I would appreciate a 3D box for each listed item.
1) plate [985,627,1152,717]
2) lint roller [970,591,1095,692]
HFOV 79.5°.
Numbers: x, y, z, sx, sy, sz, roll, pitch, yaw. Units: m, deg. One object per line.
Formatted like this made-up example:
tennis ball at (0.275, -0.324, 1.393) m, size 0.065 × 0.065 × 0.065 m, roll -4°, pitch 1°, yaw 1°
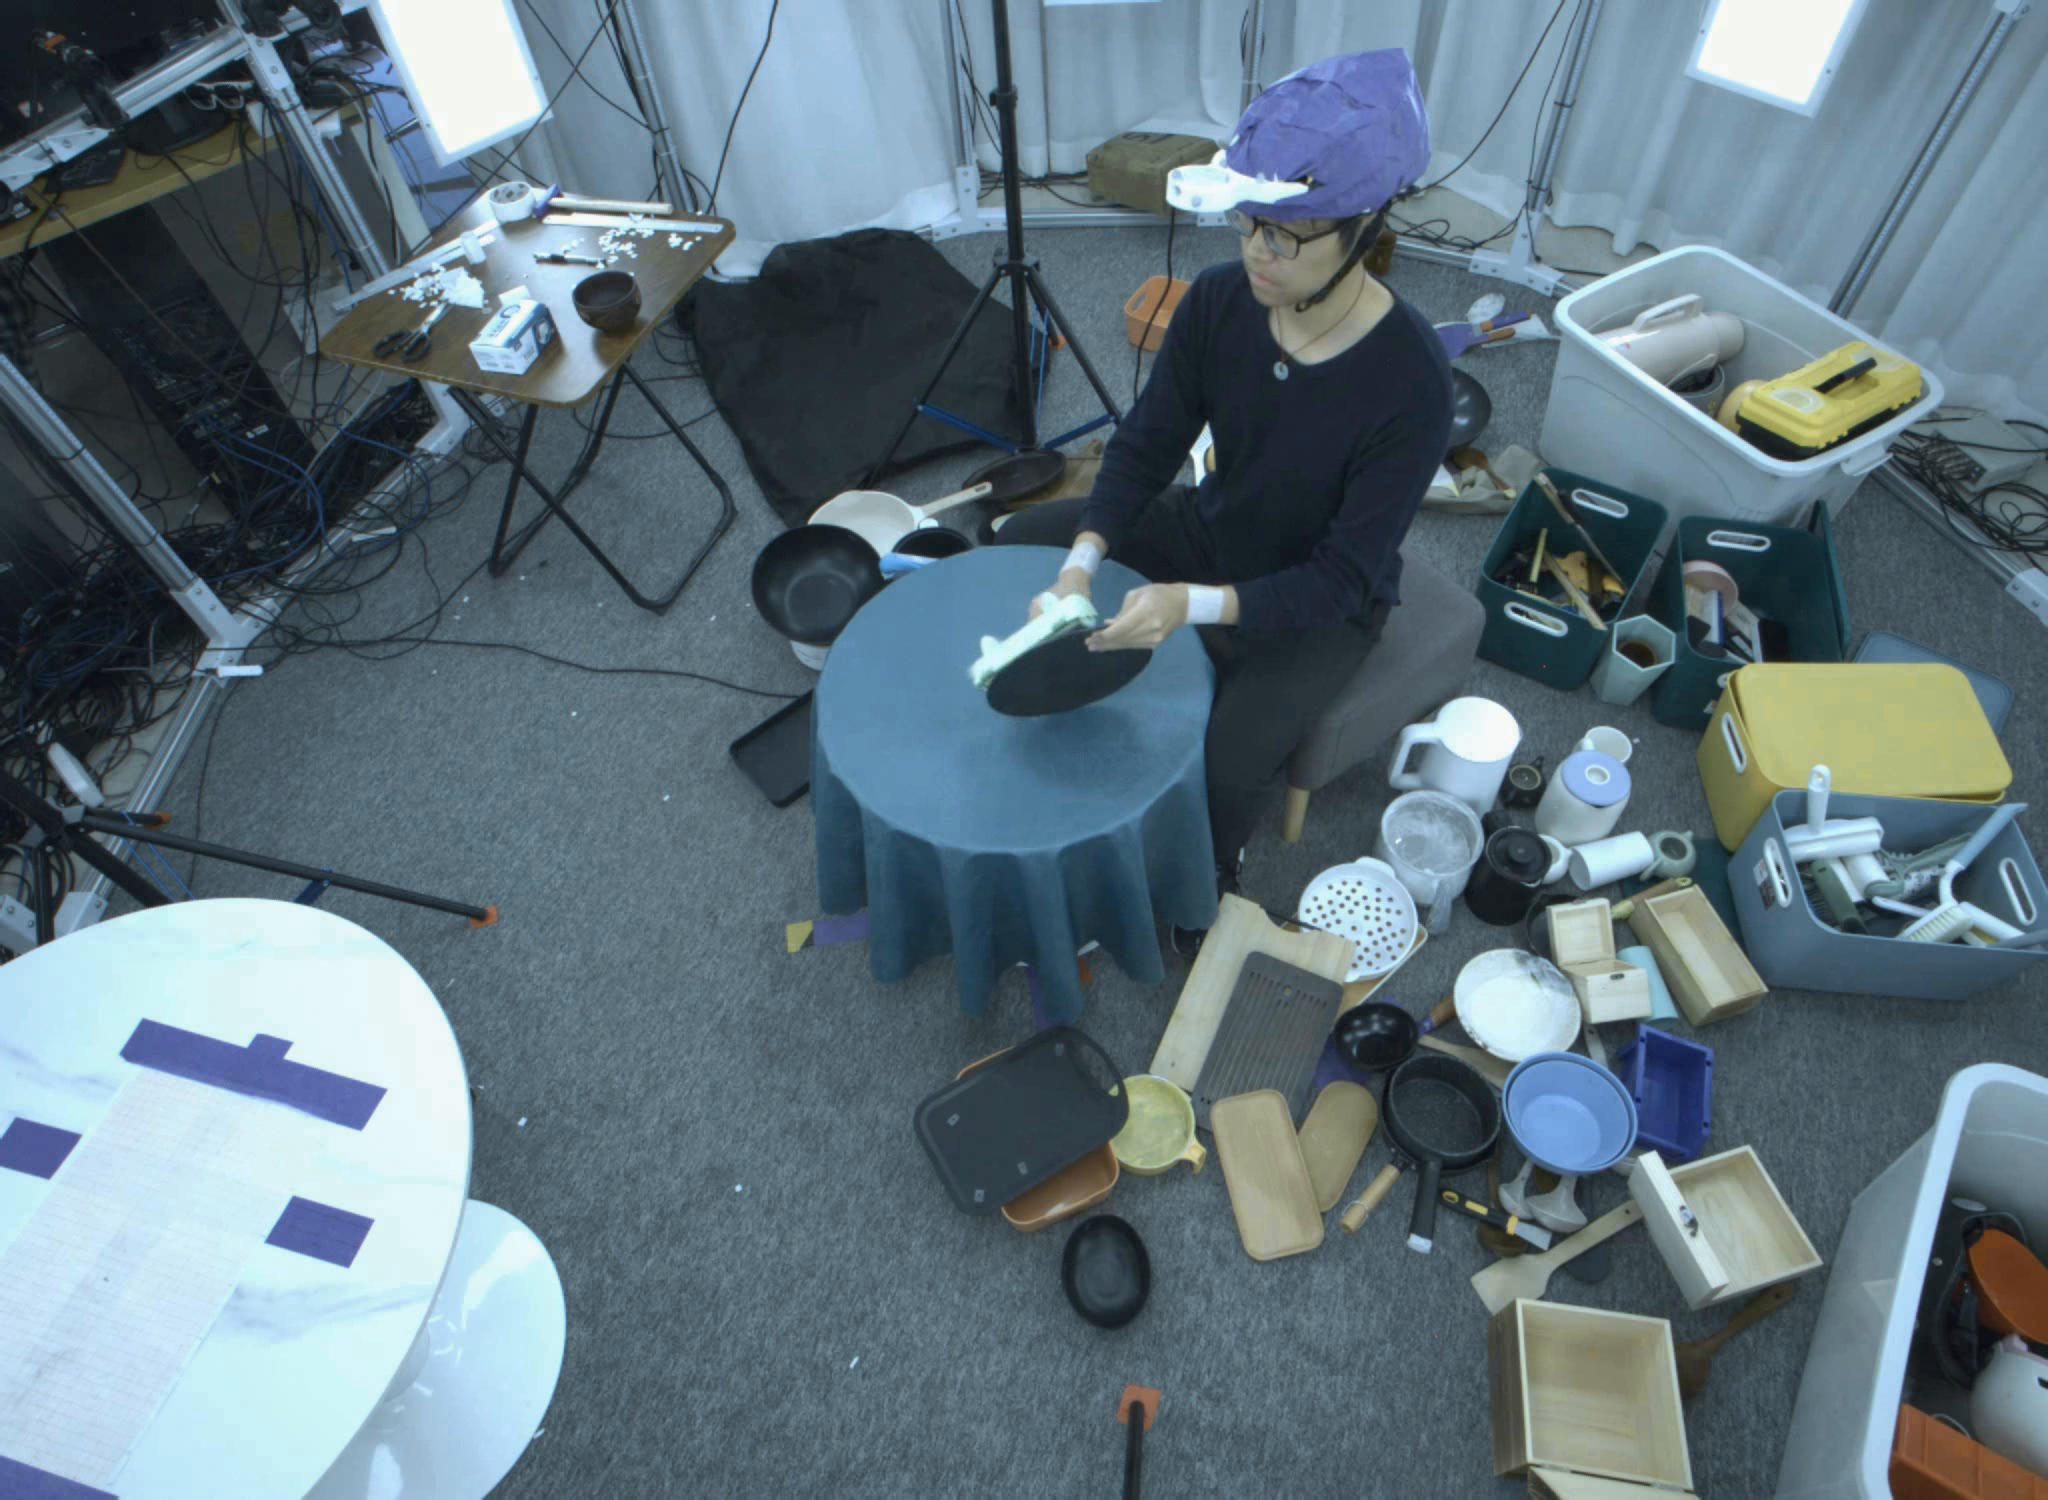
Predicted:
plate at (0.059, -0.113, 1.716) m, size 0.245 × 0.246 × 0.023 m, roll -15°, pitch 69°, yaw -7°
lint roller at (0.016, -0.182, 1.733) m, size 0.196 × 0.083 × 0.183 m, roll -31°, pitch 22°, yaw 30°
